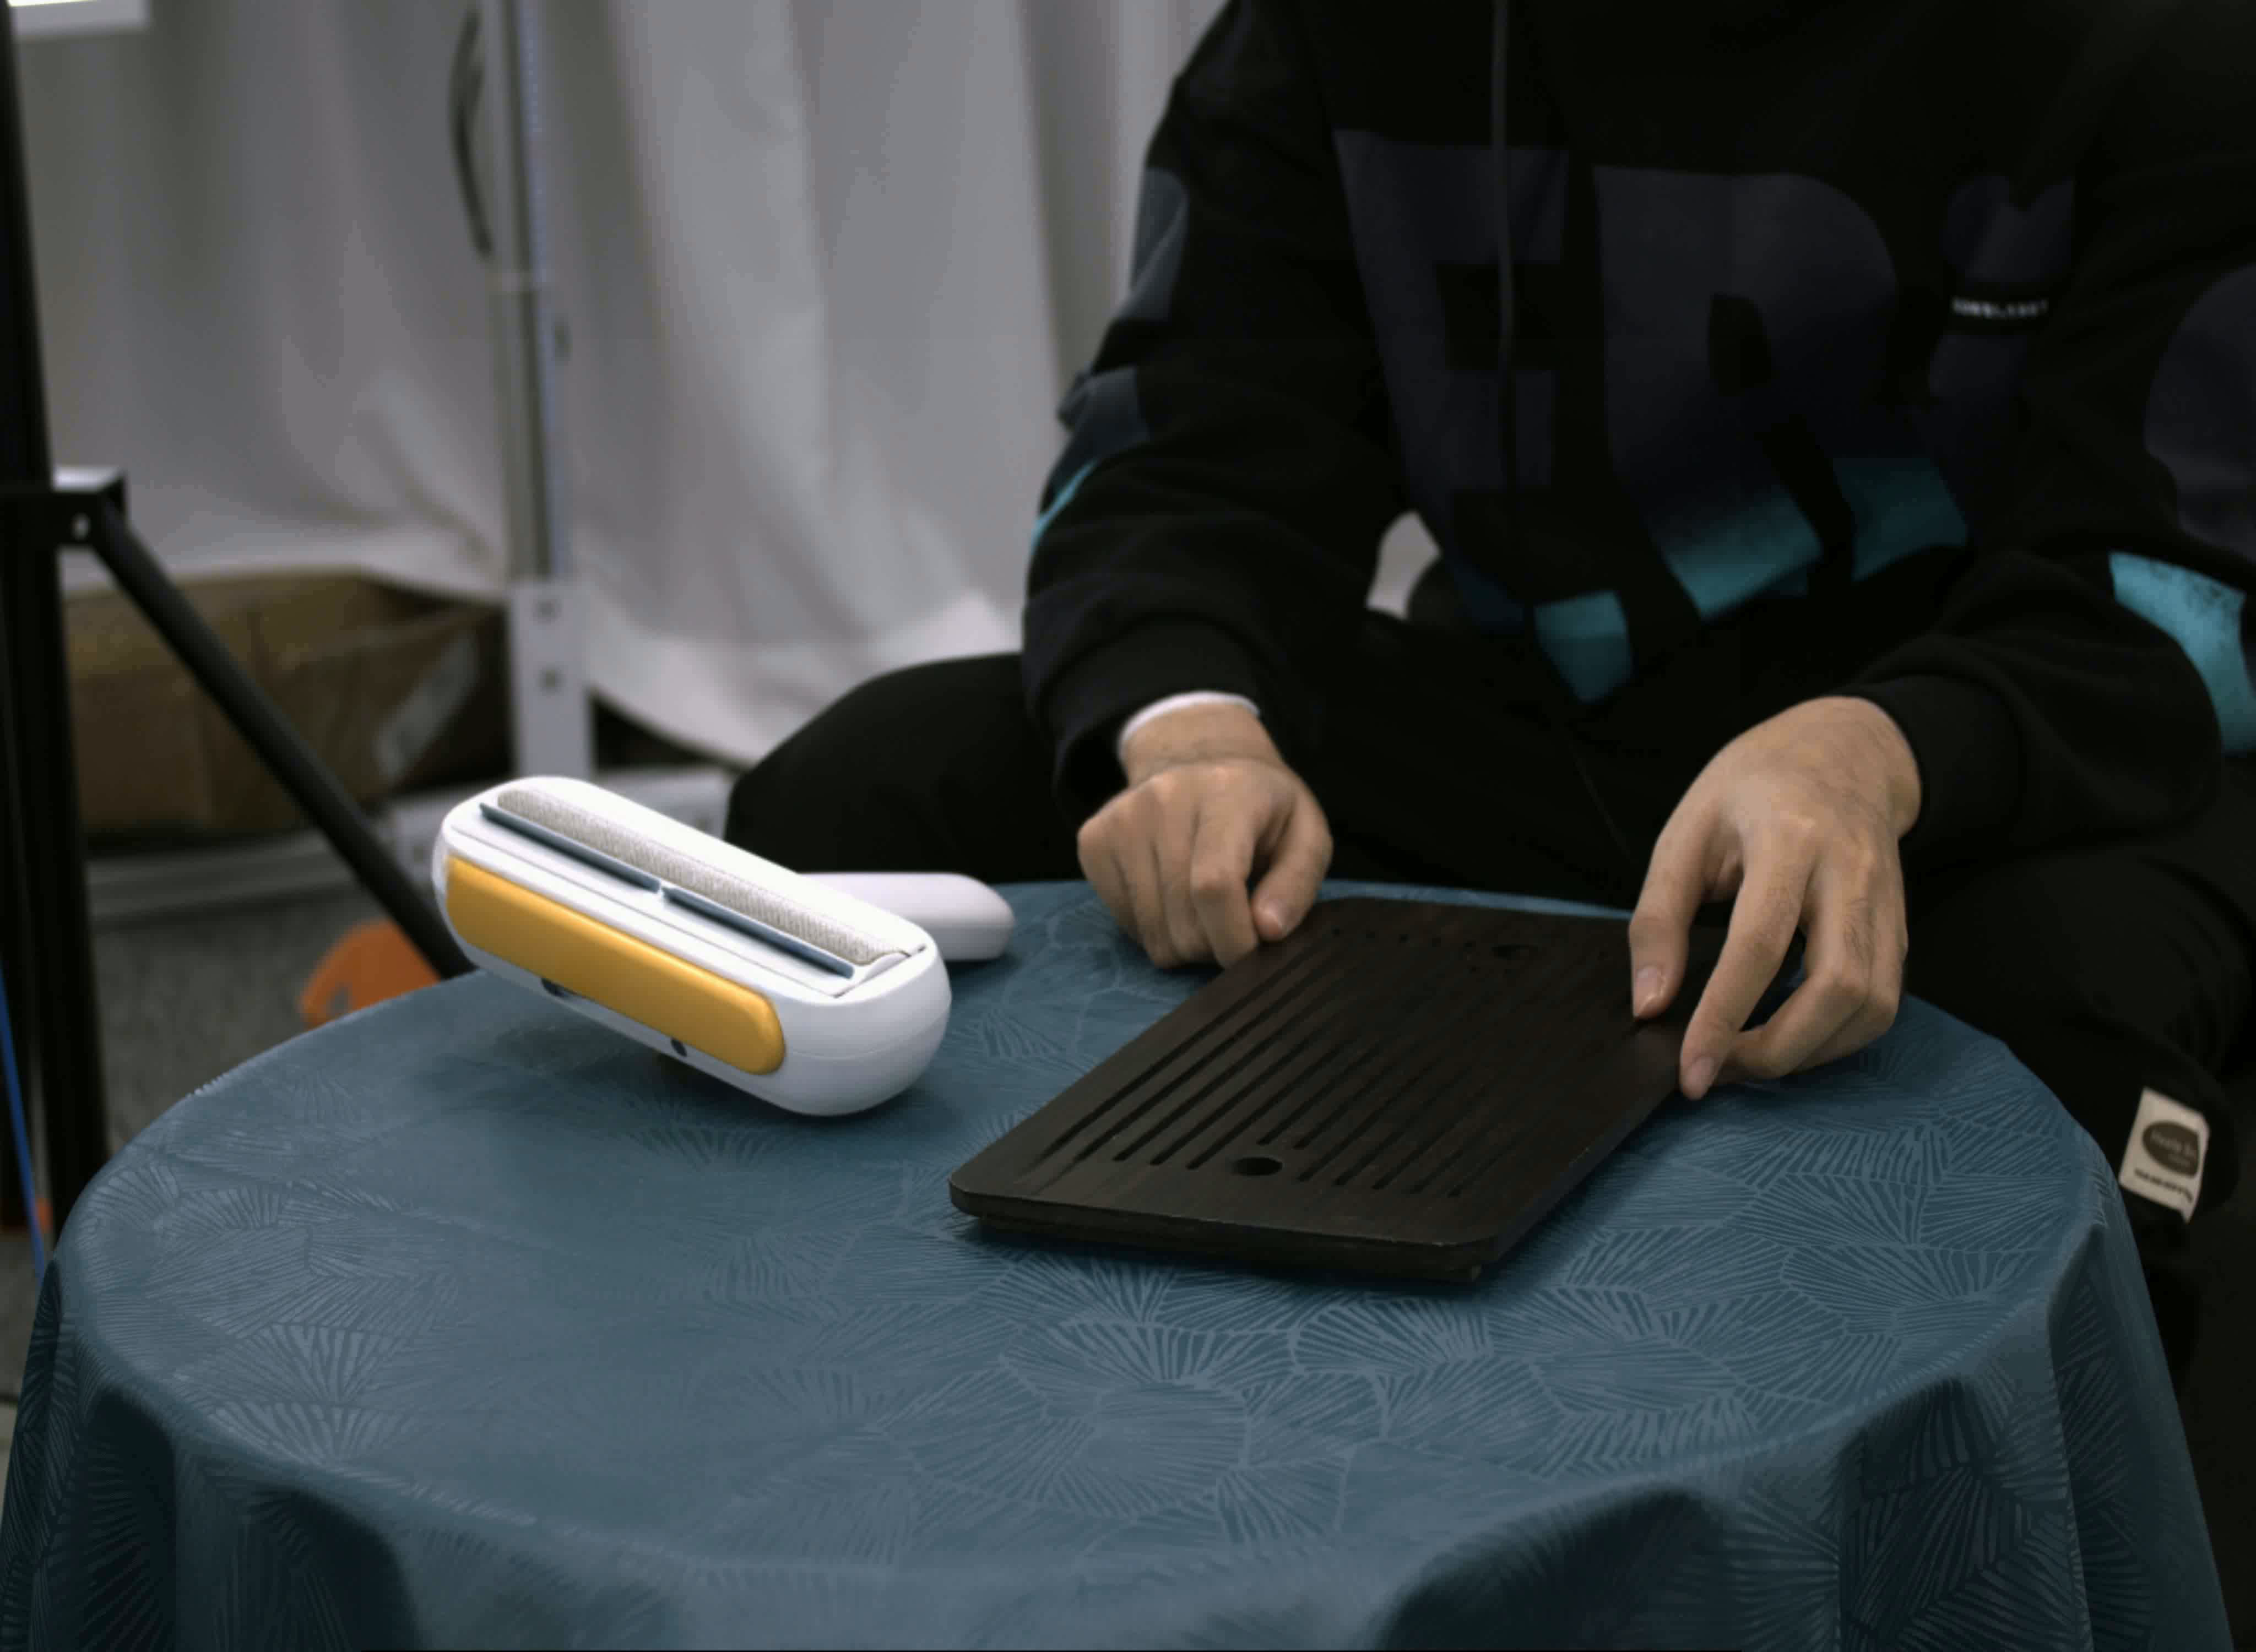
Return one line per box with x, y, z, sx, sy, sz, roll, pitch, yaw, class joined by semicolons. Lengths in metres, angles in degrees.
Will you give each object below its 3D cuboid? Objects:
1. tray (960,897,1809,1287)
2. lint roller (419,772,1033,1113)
0.086;0.078;1.616;0.172;0.018;0.301;4;17;25;tray
-0.105;0.030;1.727;0.197;0.074;0.188;19;25;41;lint roller
